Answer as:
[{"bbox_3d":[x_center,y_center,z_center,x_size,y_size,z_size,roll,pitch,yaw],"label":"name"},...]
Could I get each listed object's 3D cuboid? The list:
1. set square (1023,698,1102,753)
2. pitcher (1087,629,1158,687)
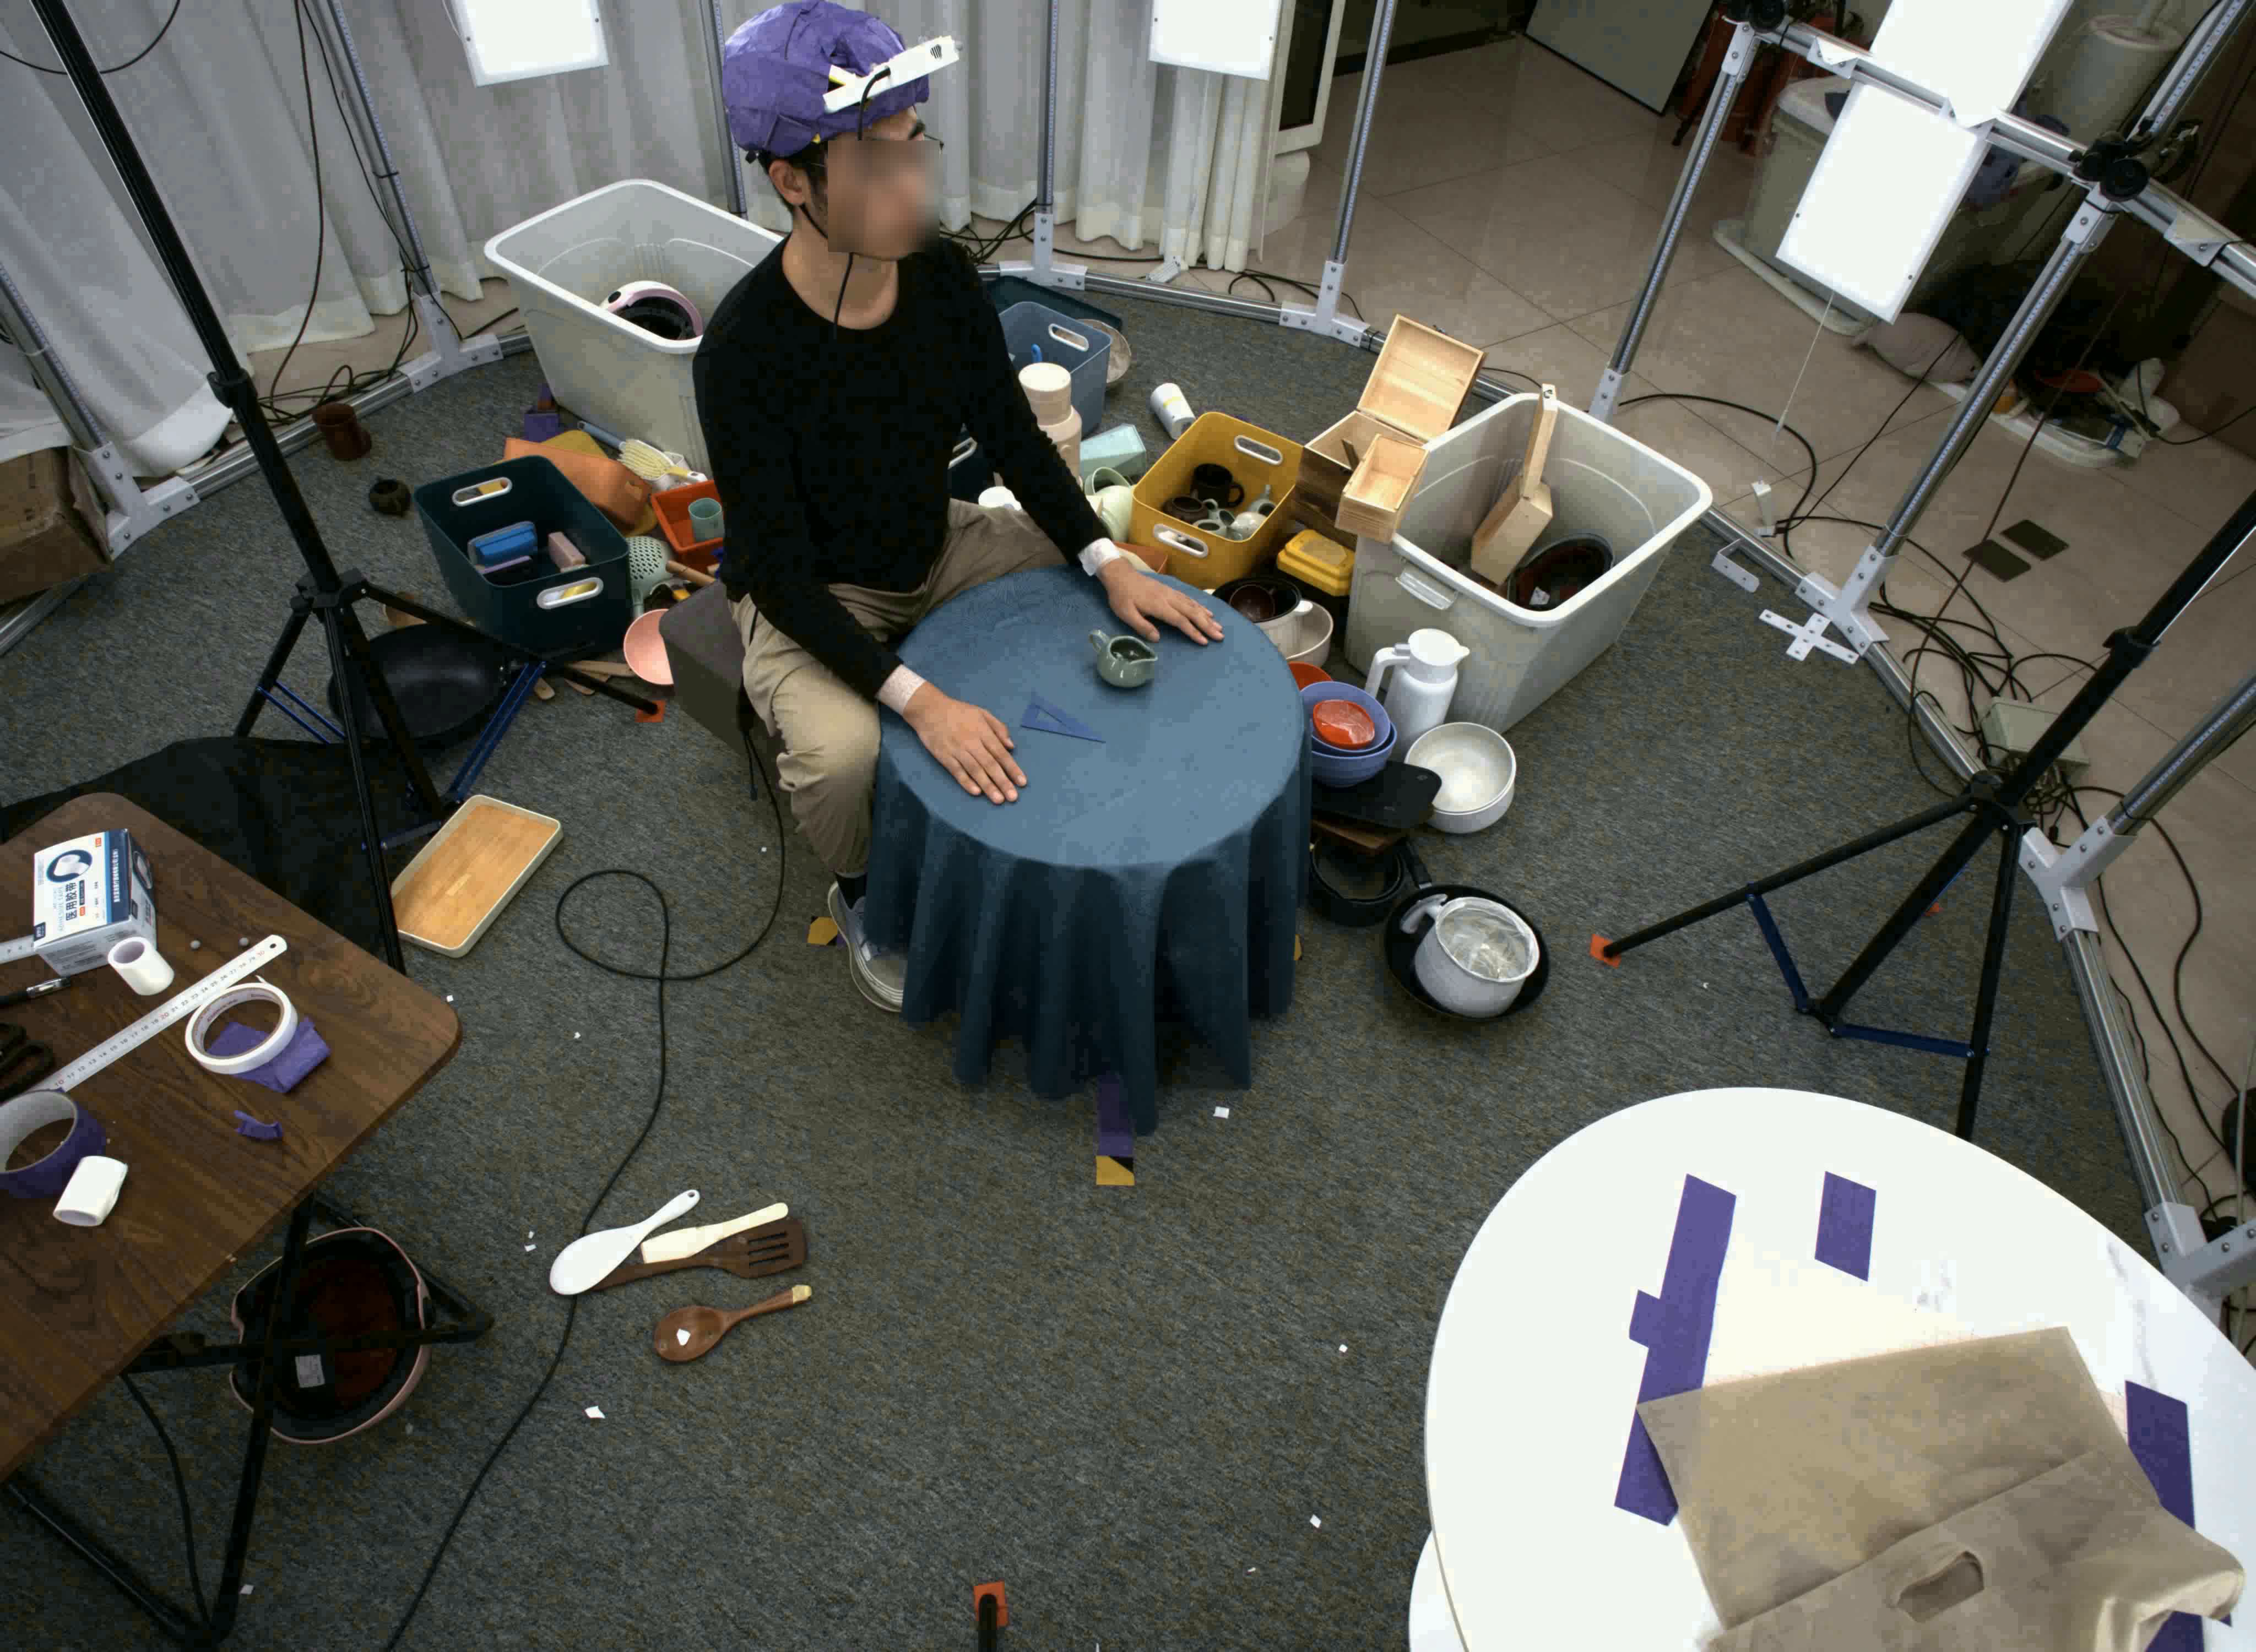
[{"bbox_3d":[-0.099,-0.130,1.774,0.061,0.006,0.134,-34,60,-30],"label":"set square"},{"bbox_3d":[-0.009,-0.243,1.844,0.113,0.055,0.085,25,50,17],"label":"pitcher"}]
